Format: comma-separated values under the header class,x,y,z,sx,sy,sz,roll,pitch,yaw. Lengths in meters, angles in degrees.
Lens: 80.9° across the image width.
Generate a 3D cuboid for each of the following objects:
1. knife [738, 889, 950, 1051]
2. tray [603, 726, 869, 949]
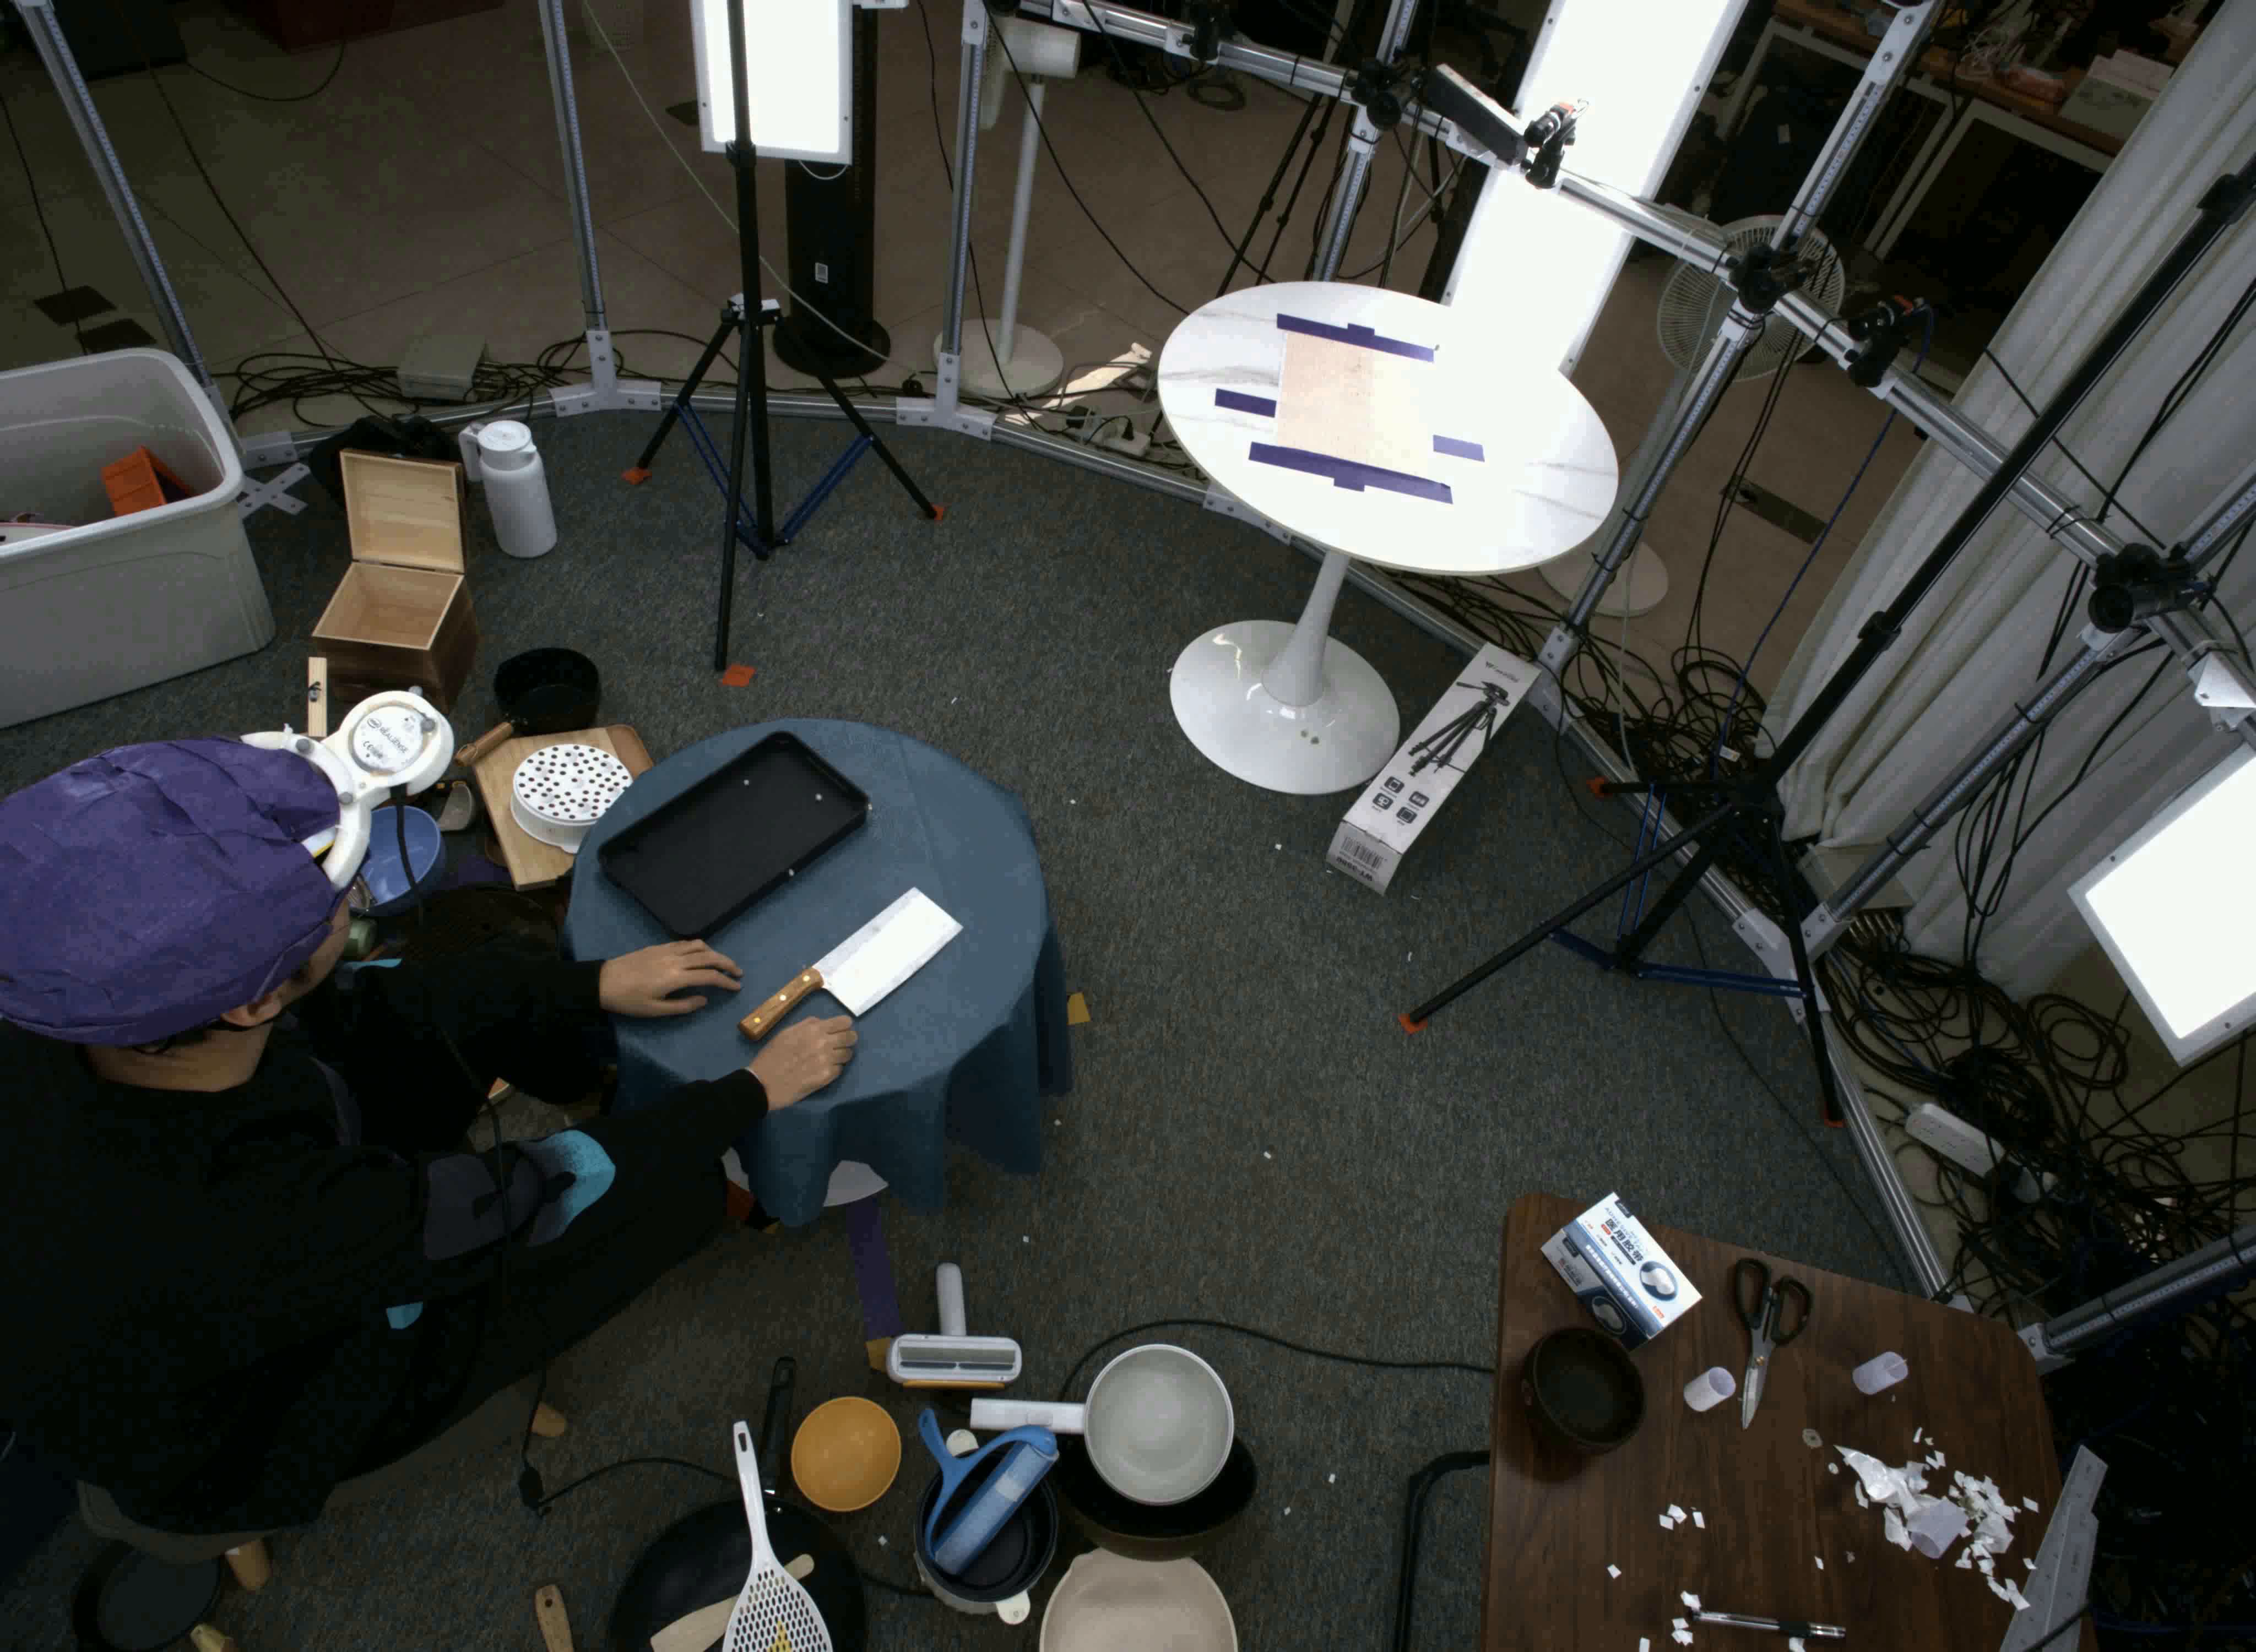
class,x,y,z,sx,sy,sz,roll,pitch,yaw
knife,-0.337,0.182,1.591,0.091,0.021,0.306,38,51,13
tray,-0.501,0.007,1.665,0.181,0.038,0.318,37,54,13
